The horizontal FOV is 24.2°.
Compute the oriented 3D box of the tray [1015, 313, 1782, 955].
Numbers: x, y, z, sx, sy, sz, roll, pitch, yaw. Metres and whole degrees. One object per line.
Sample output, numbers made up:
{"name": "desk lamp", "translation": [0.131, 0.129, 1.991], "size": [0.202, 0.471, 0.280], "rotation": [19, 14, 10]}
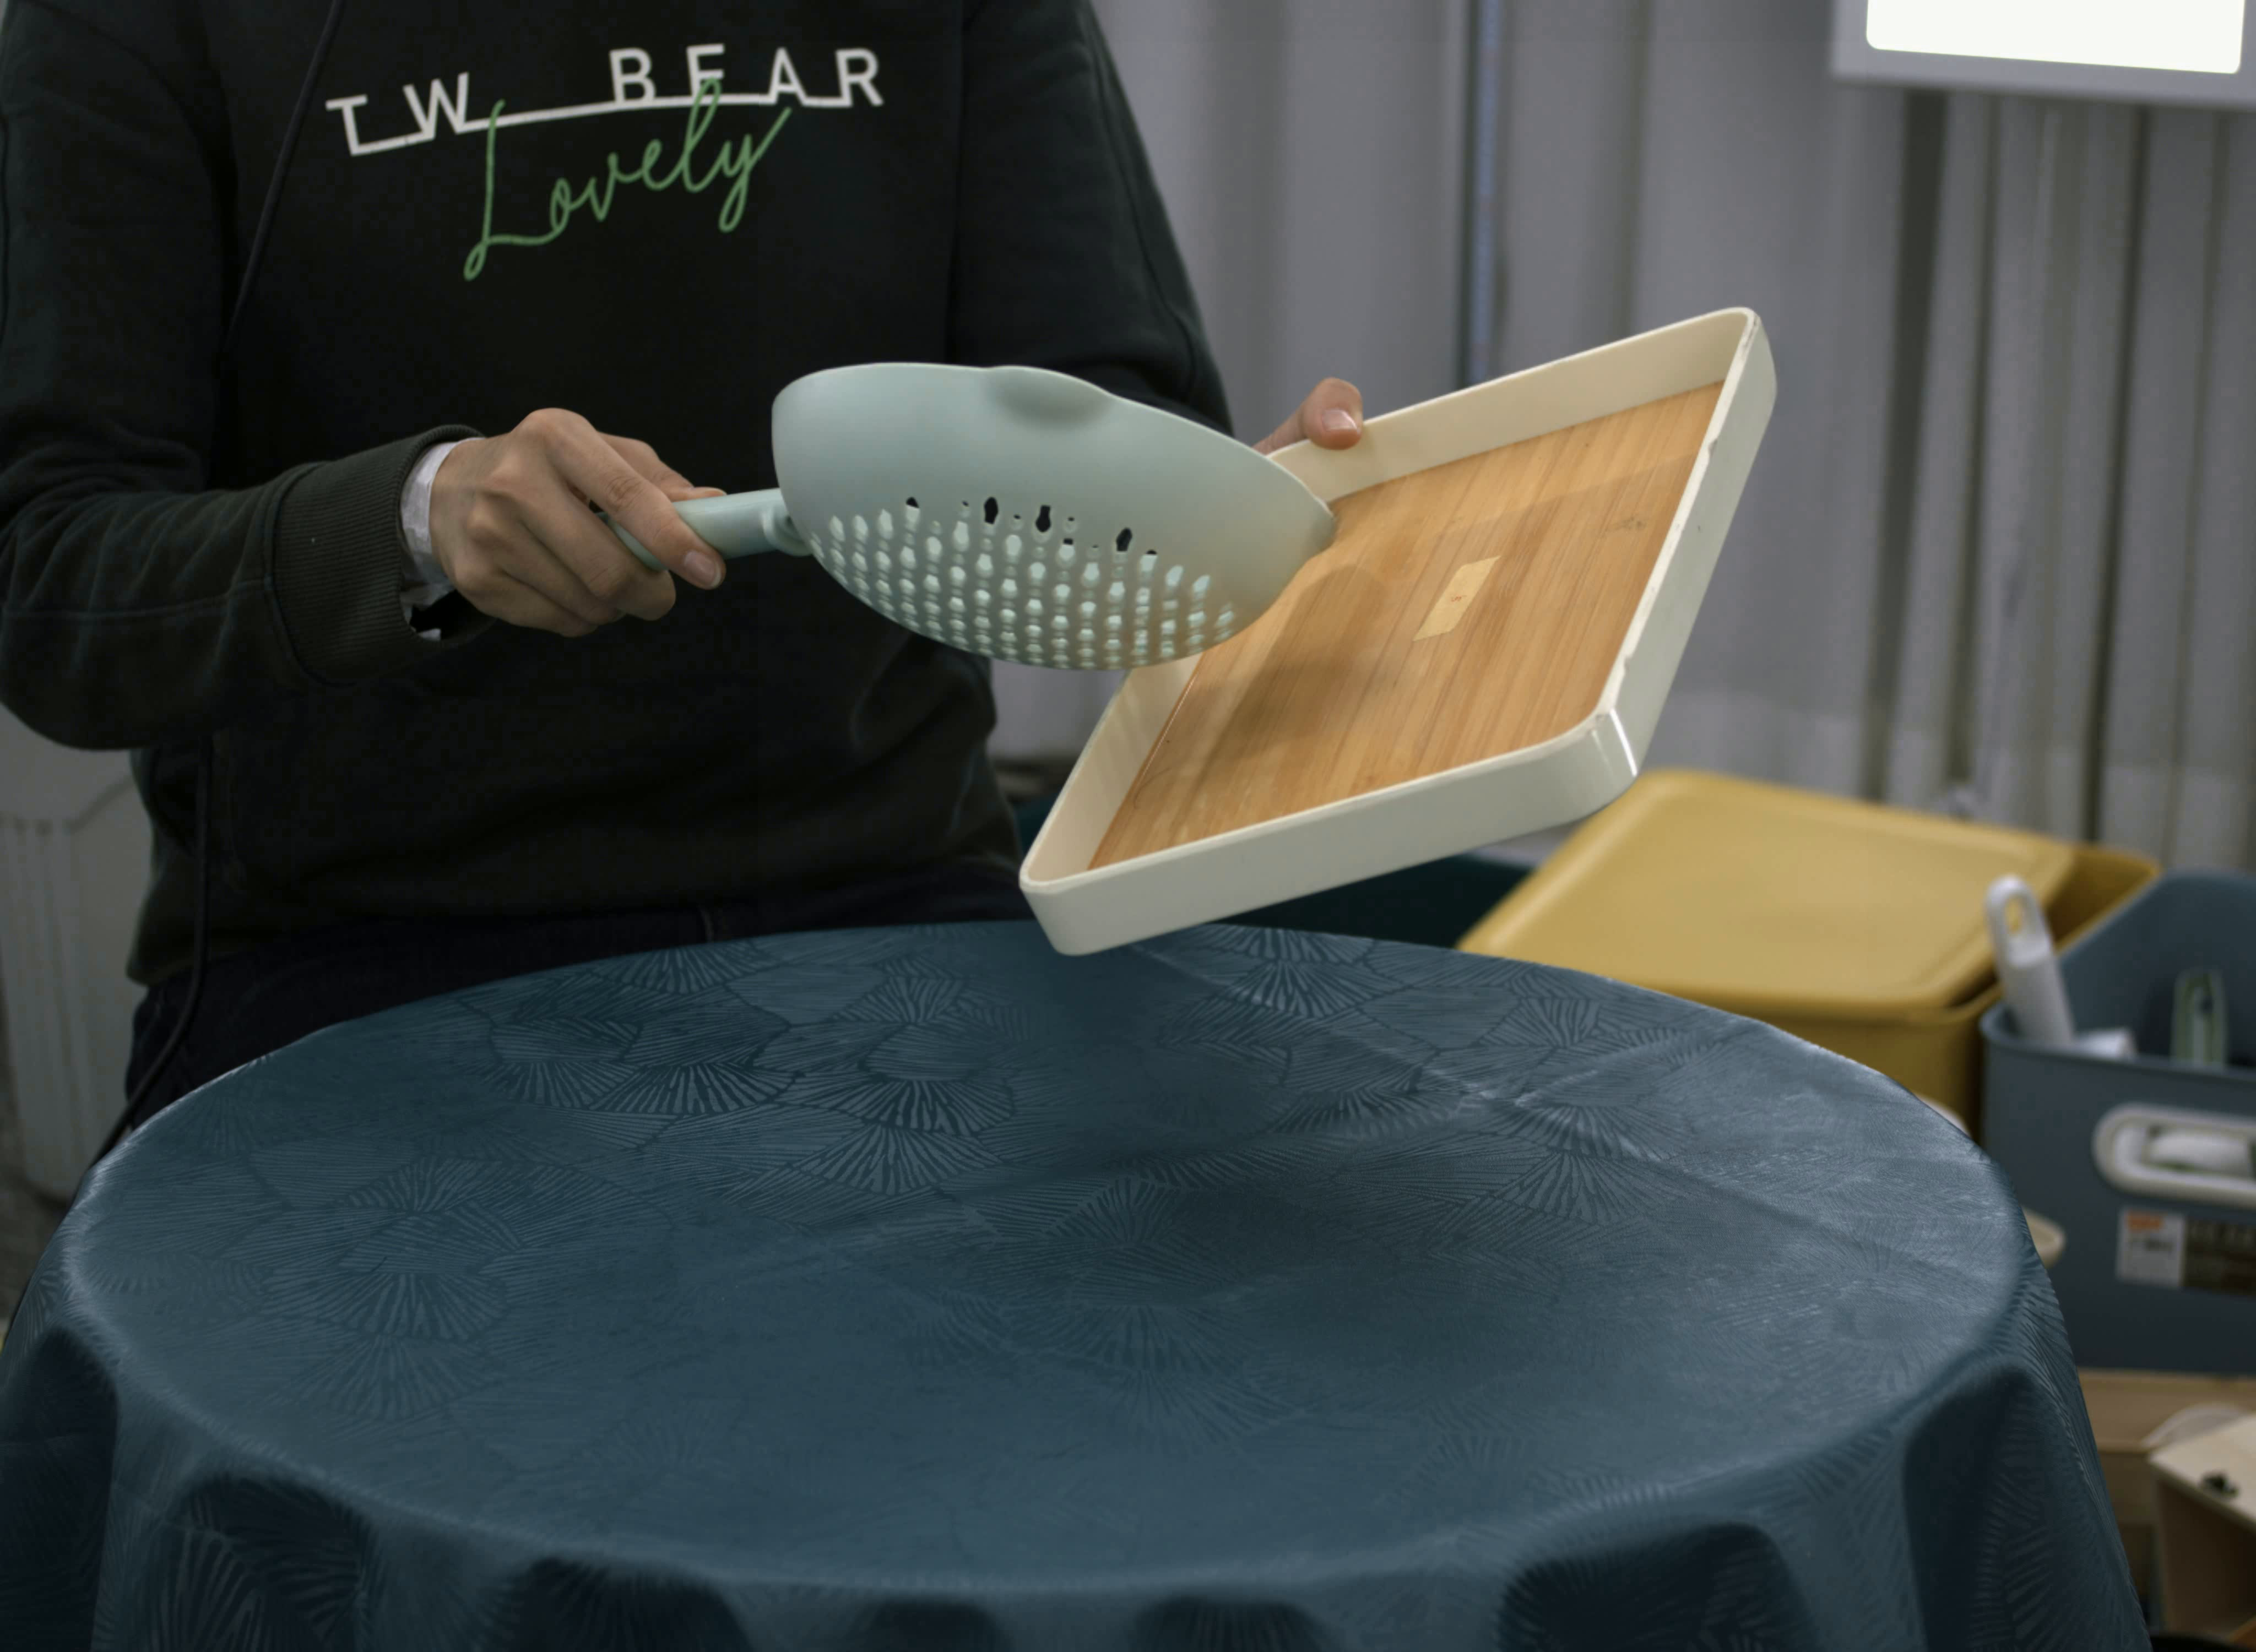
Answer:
{"name": "tray", "translation": [0.089, -0.063, 1.609], "size": [0.190, 0.028, 0.299], "rotation": [-15, 24, 24]}

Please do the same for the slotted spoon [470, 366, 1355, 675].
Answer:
{"name": "slotted spoon", "translation": [-0.093, -0.093, 1.650], "size": [0.171, 0.075, 0.354], "rotation": [25, -11, -41]}
